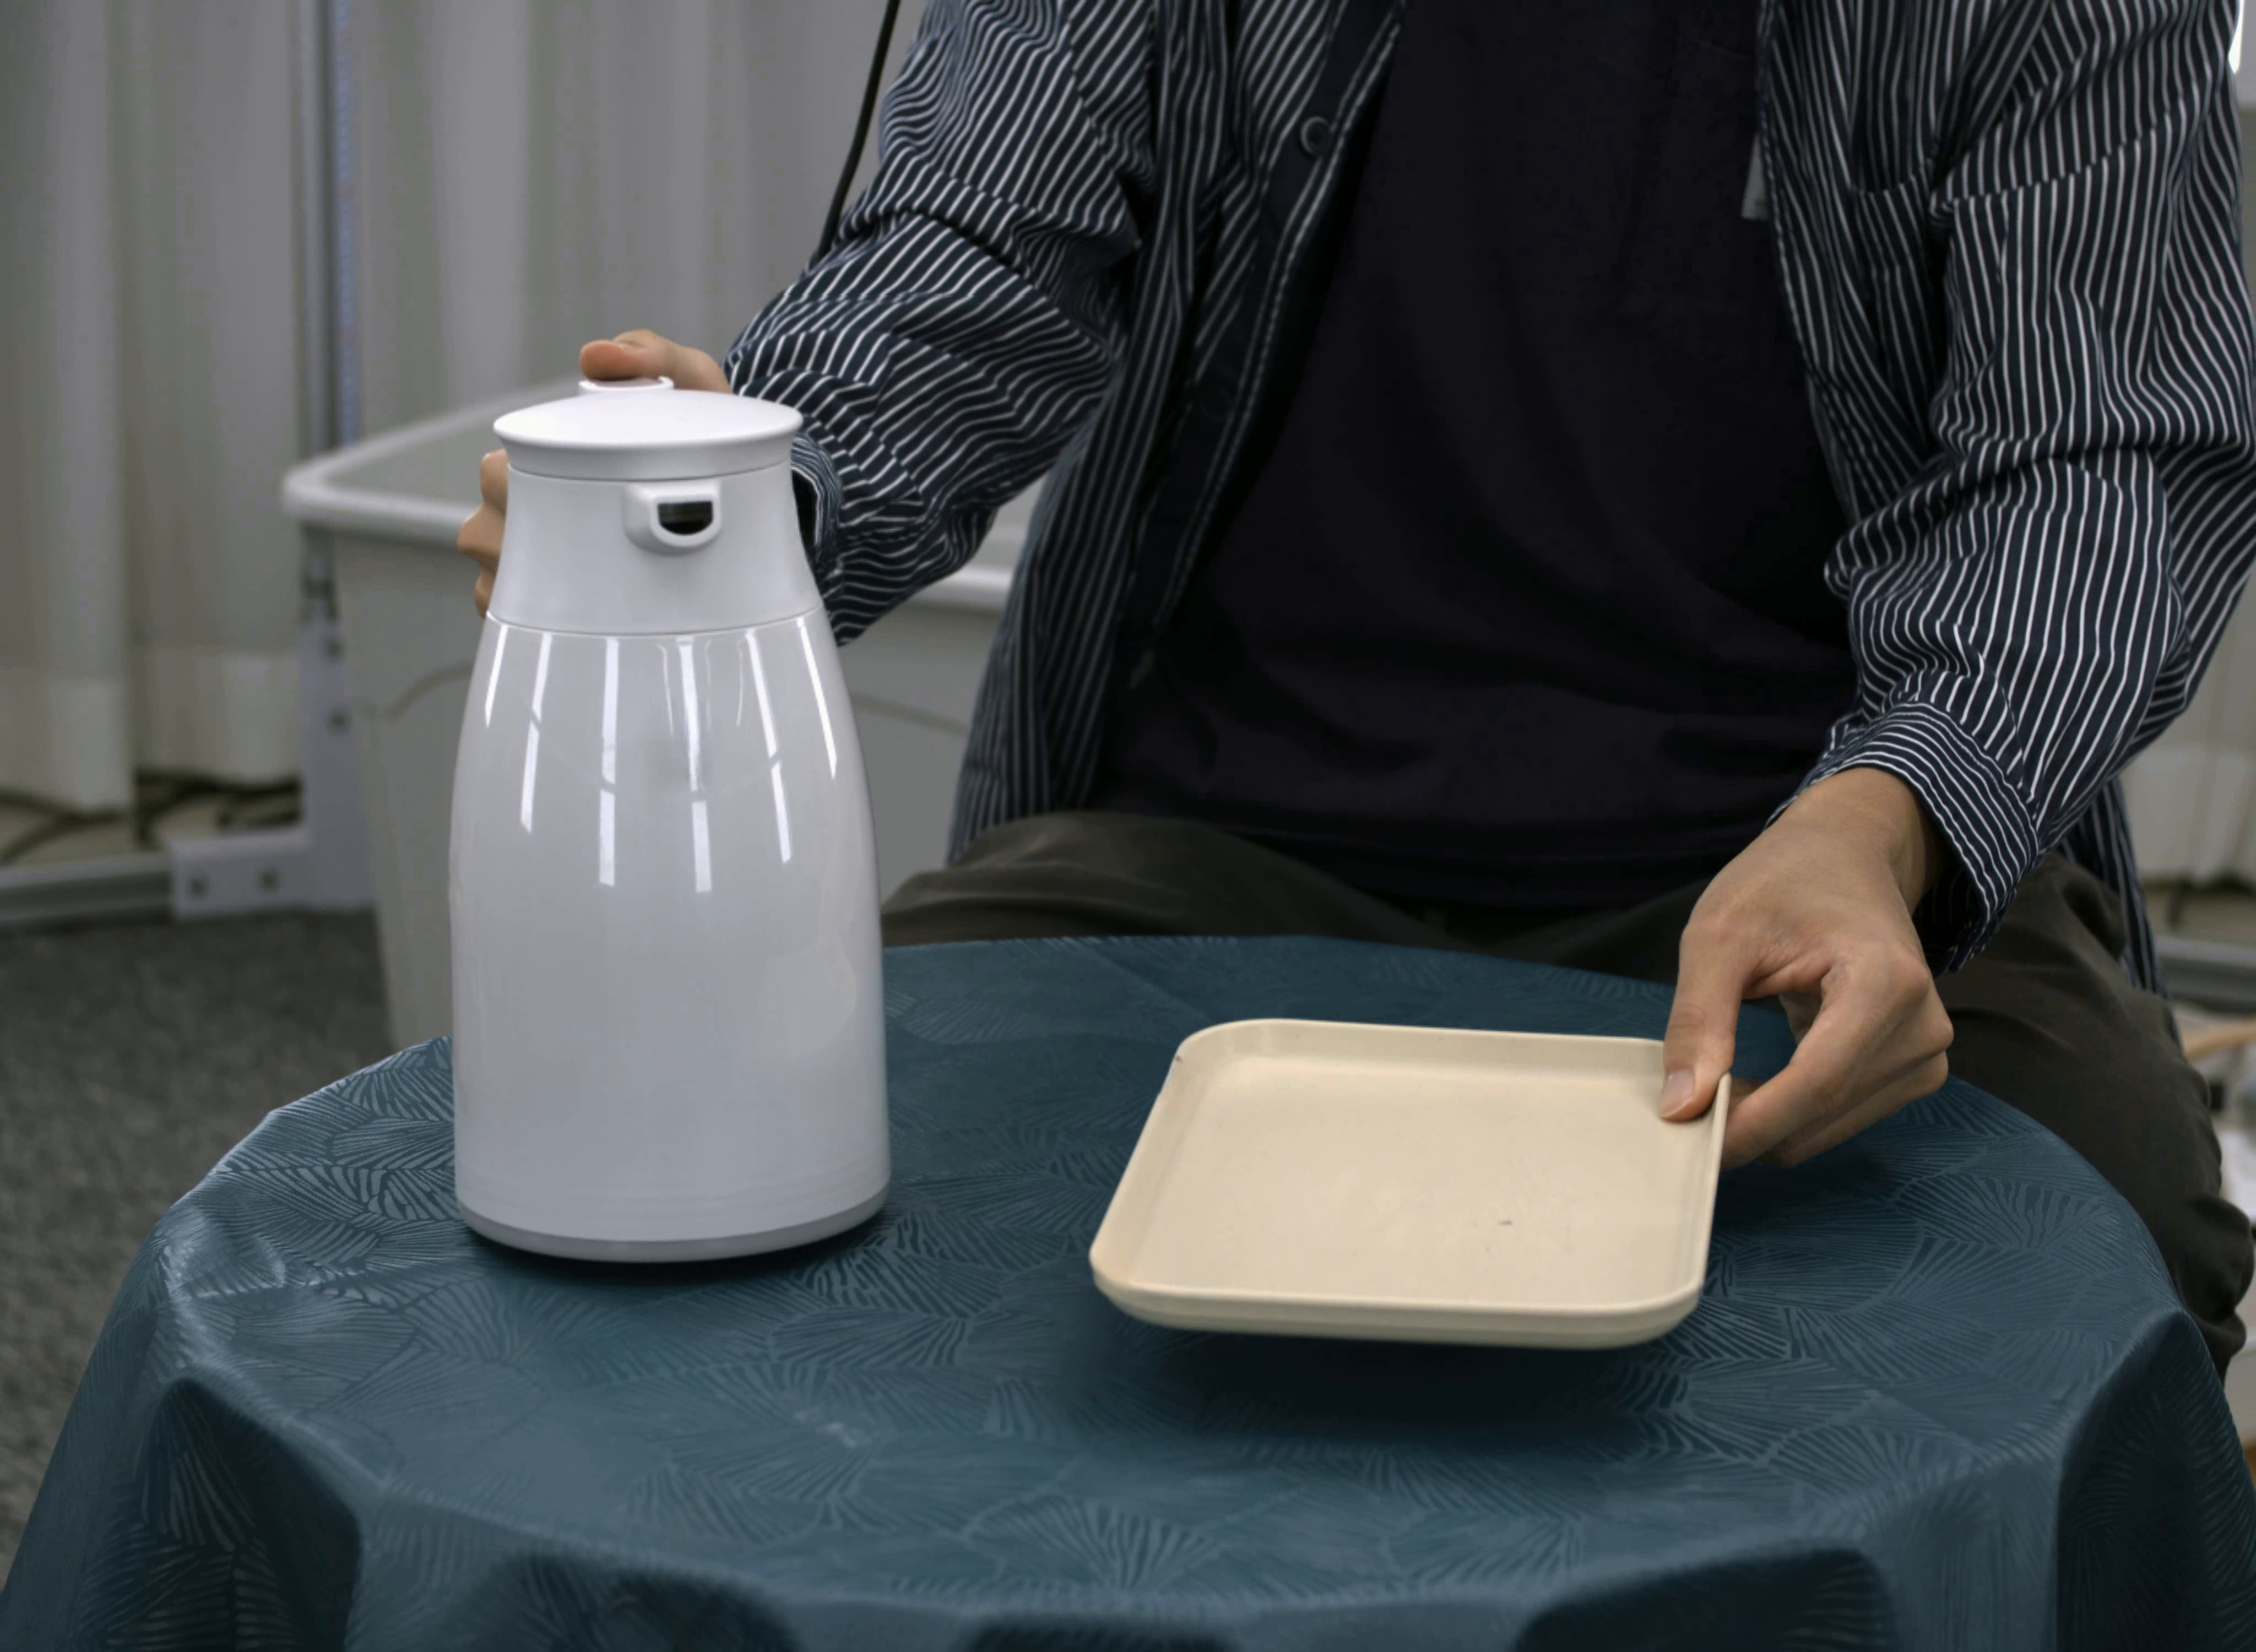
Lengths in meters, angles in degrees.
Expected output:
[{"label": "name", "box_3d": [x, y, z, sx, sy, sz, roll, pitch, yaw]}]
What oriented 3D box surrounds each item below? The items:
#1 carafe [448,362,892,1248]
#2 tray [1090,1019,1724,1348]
[{"label": "carafe", "box_3d": [-0.147, -0.014, 1.591, 0.133, 0.250, 0.166, -6, 13, -19]}, {"label": "tray", "box_3d": [0.085, 0.102, 1.529, 0.170, 0.017, 0.239, 3, 16, 8]}]
